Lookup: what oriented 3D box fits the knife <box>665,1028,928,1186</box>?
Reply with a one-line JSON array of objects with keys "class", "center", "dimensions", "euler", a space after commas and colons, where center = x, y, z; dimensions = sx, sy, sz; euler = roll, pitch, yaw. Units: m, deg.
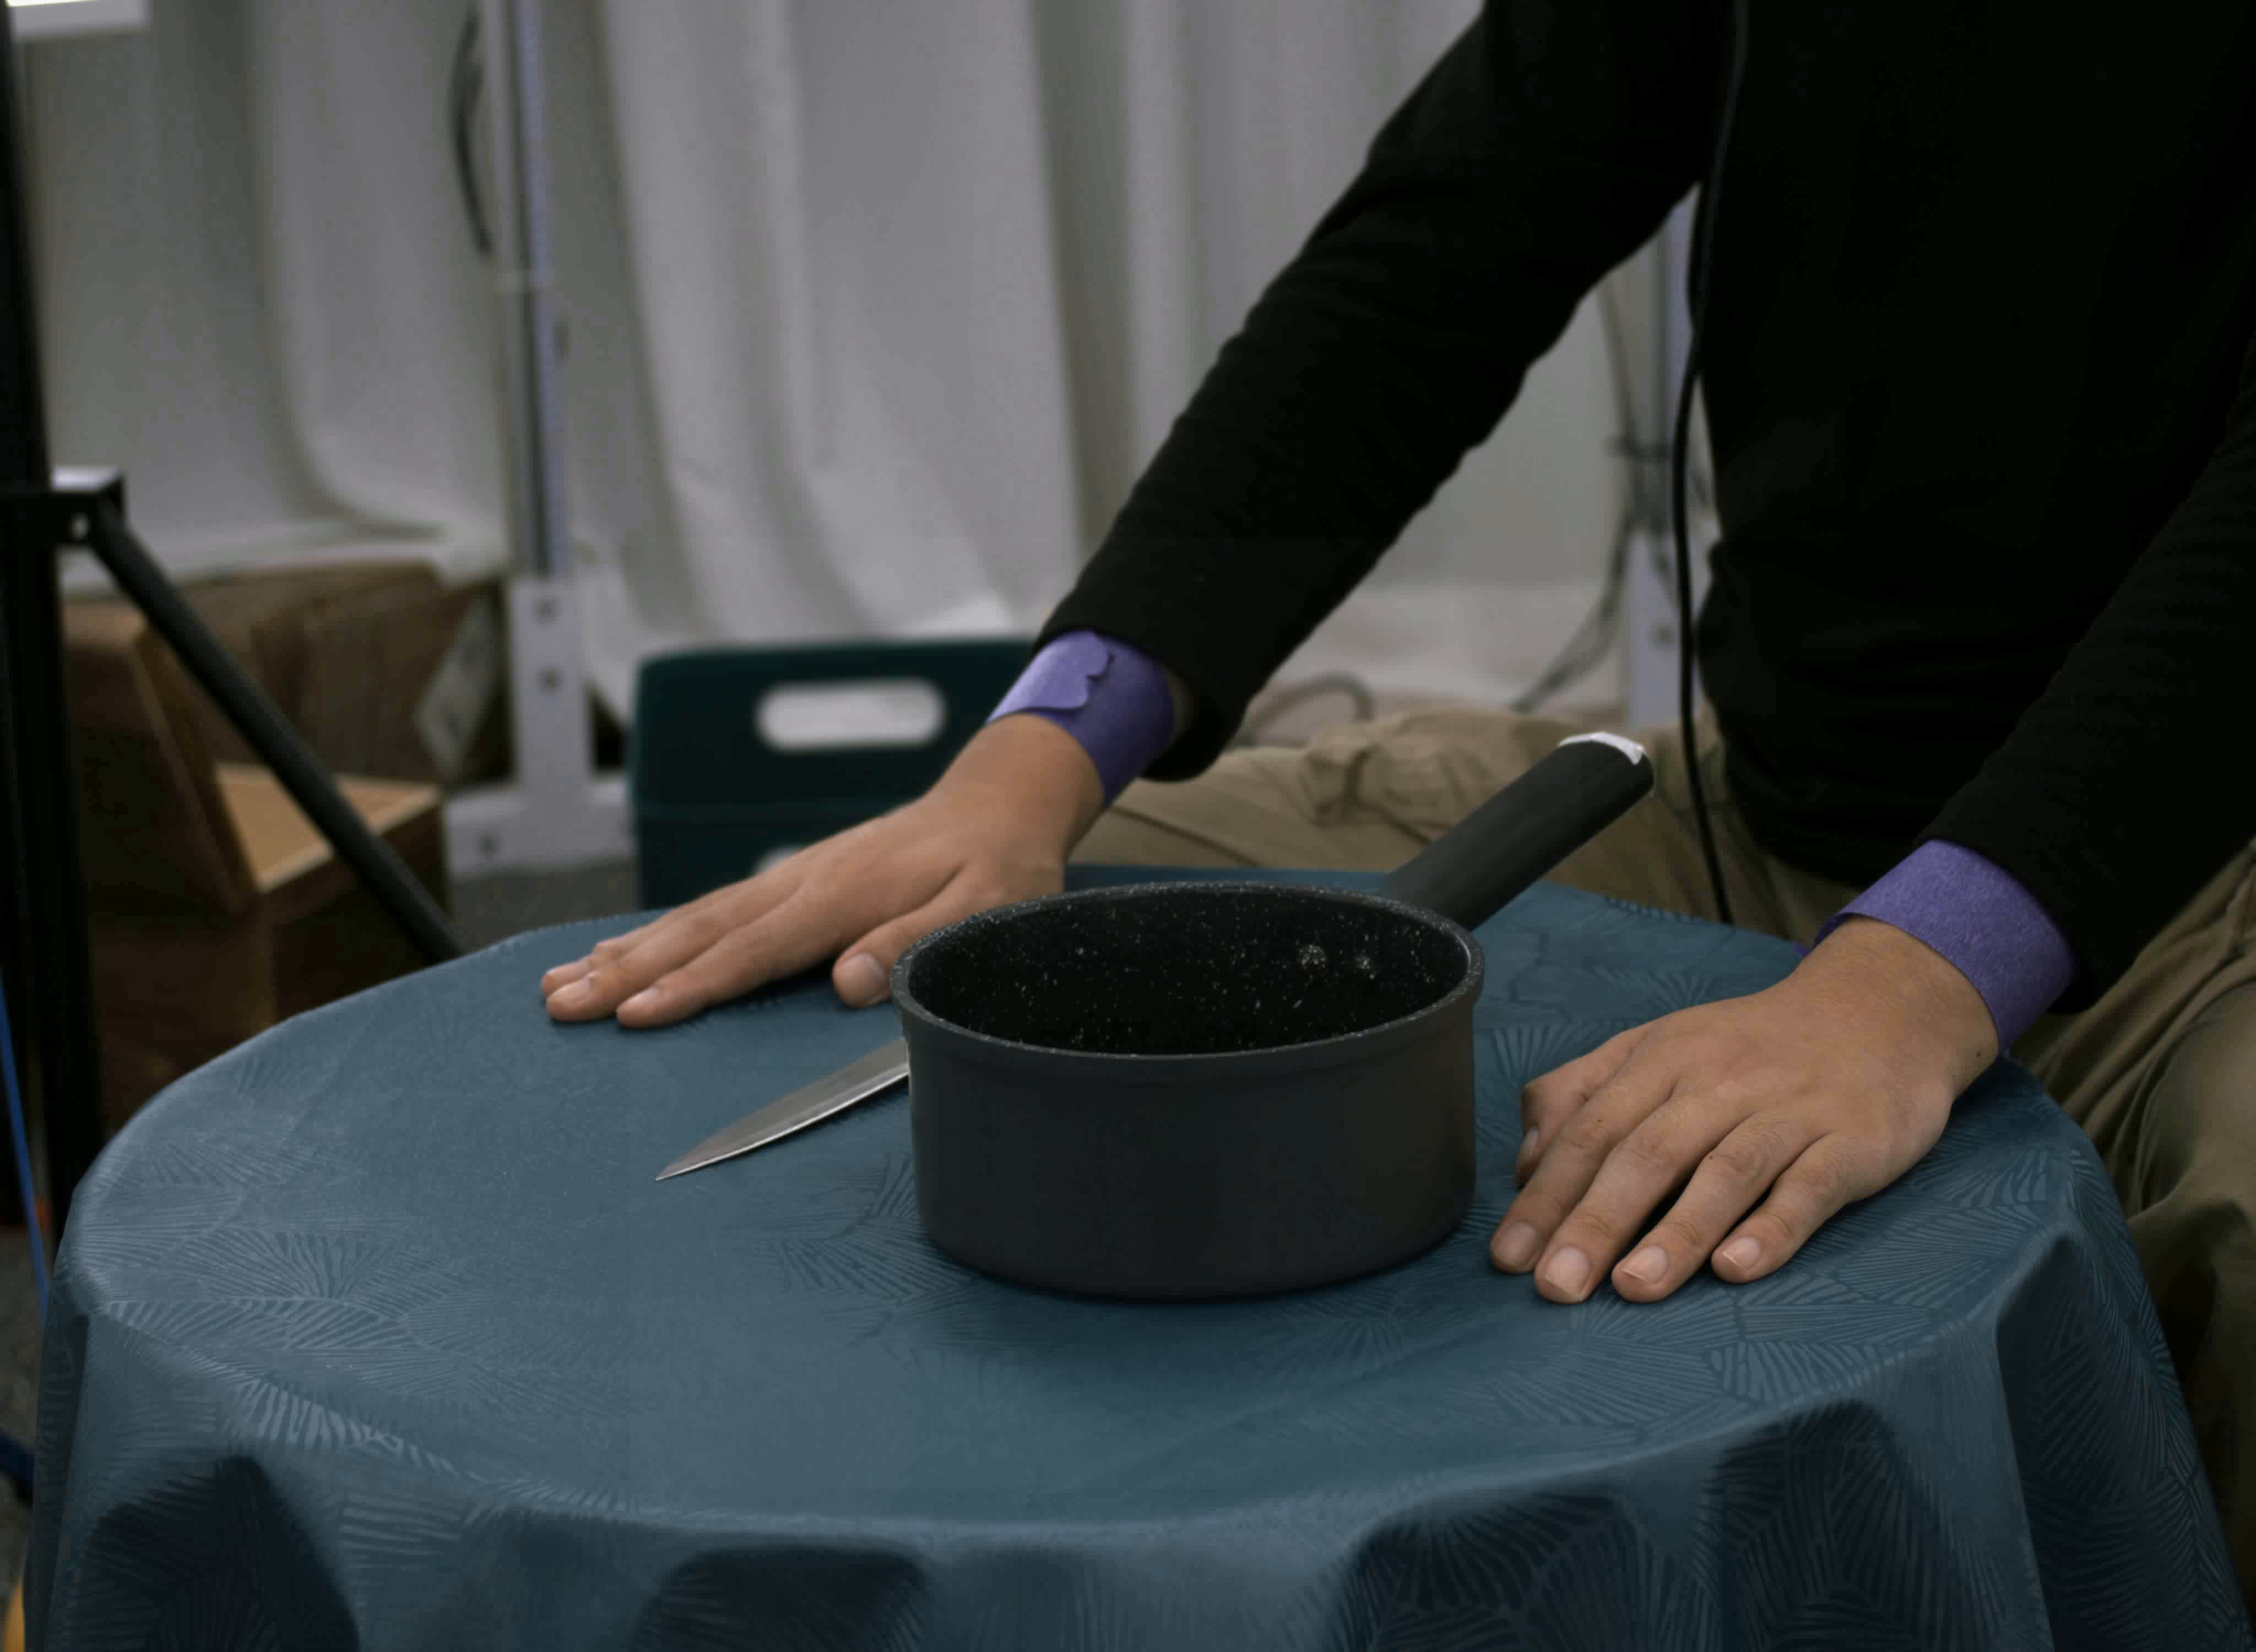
[{"class": "knife", "center": [-0.069, 0.073, 1.672], "dimensions": [0.025, 0.016, 0.233], "euler": [10, 23, 36]}]

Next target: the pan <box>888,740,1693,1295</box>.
[{"class": "pan", "center": [0.066, 0.053, 1.584], "dimensions": [0.176, 0.086, 0.322], "euler": [11, 21, 38]}]
